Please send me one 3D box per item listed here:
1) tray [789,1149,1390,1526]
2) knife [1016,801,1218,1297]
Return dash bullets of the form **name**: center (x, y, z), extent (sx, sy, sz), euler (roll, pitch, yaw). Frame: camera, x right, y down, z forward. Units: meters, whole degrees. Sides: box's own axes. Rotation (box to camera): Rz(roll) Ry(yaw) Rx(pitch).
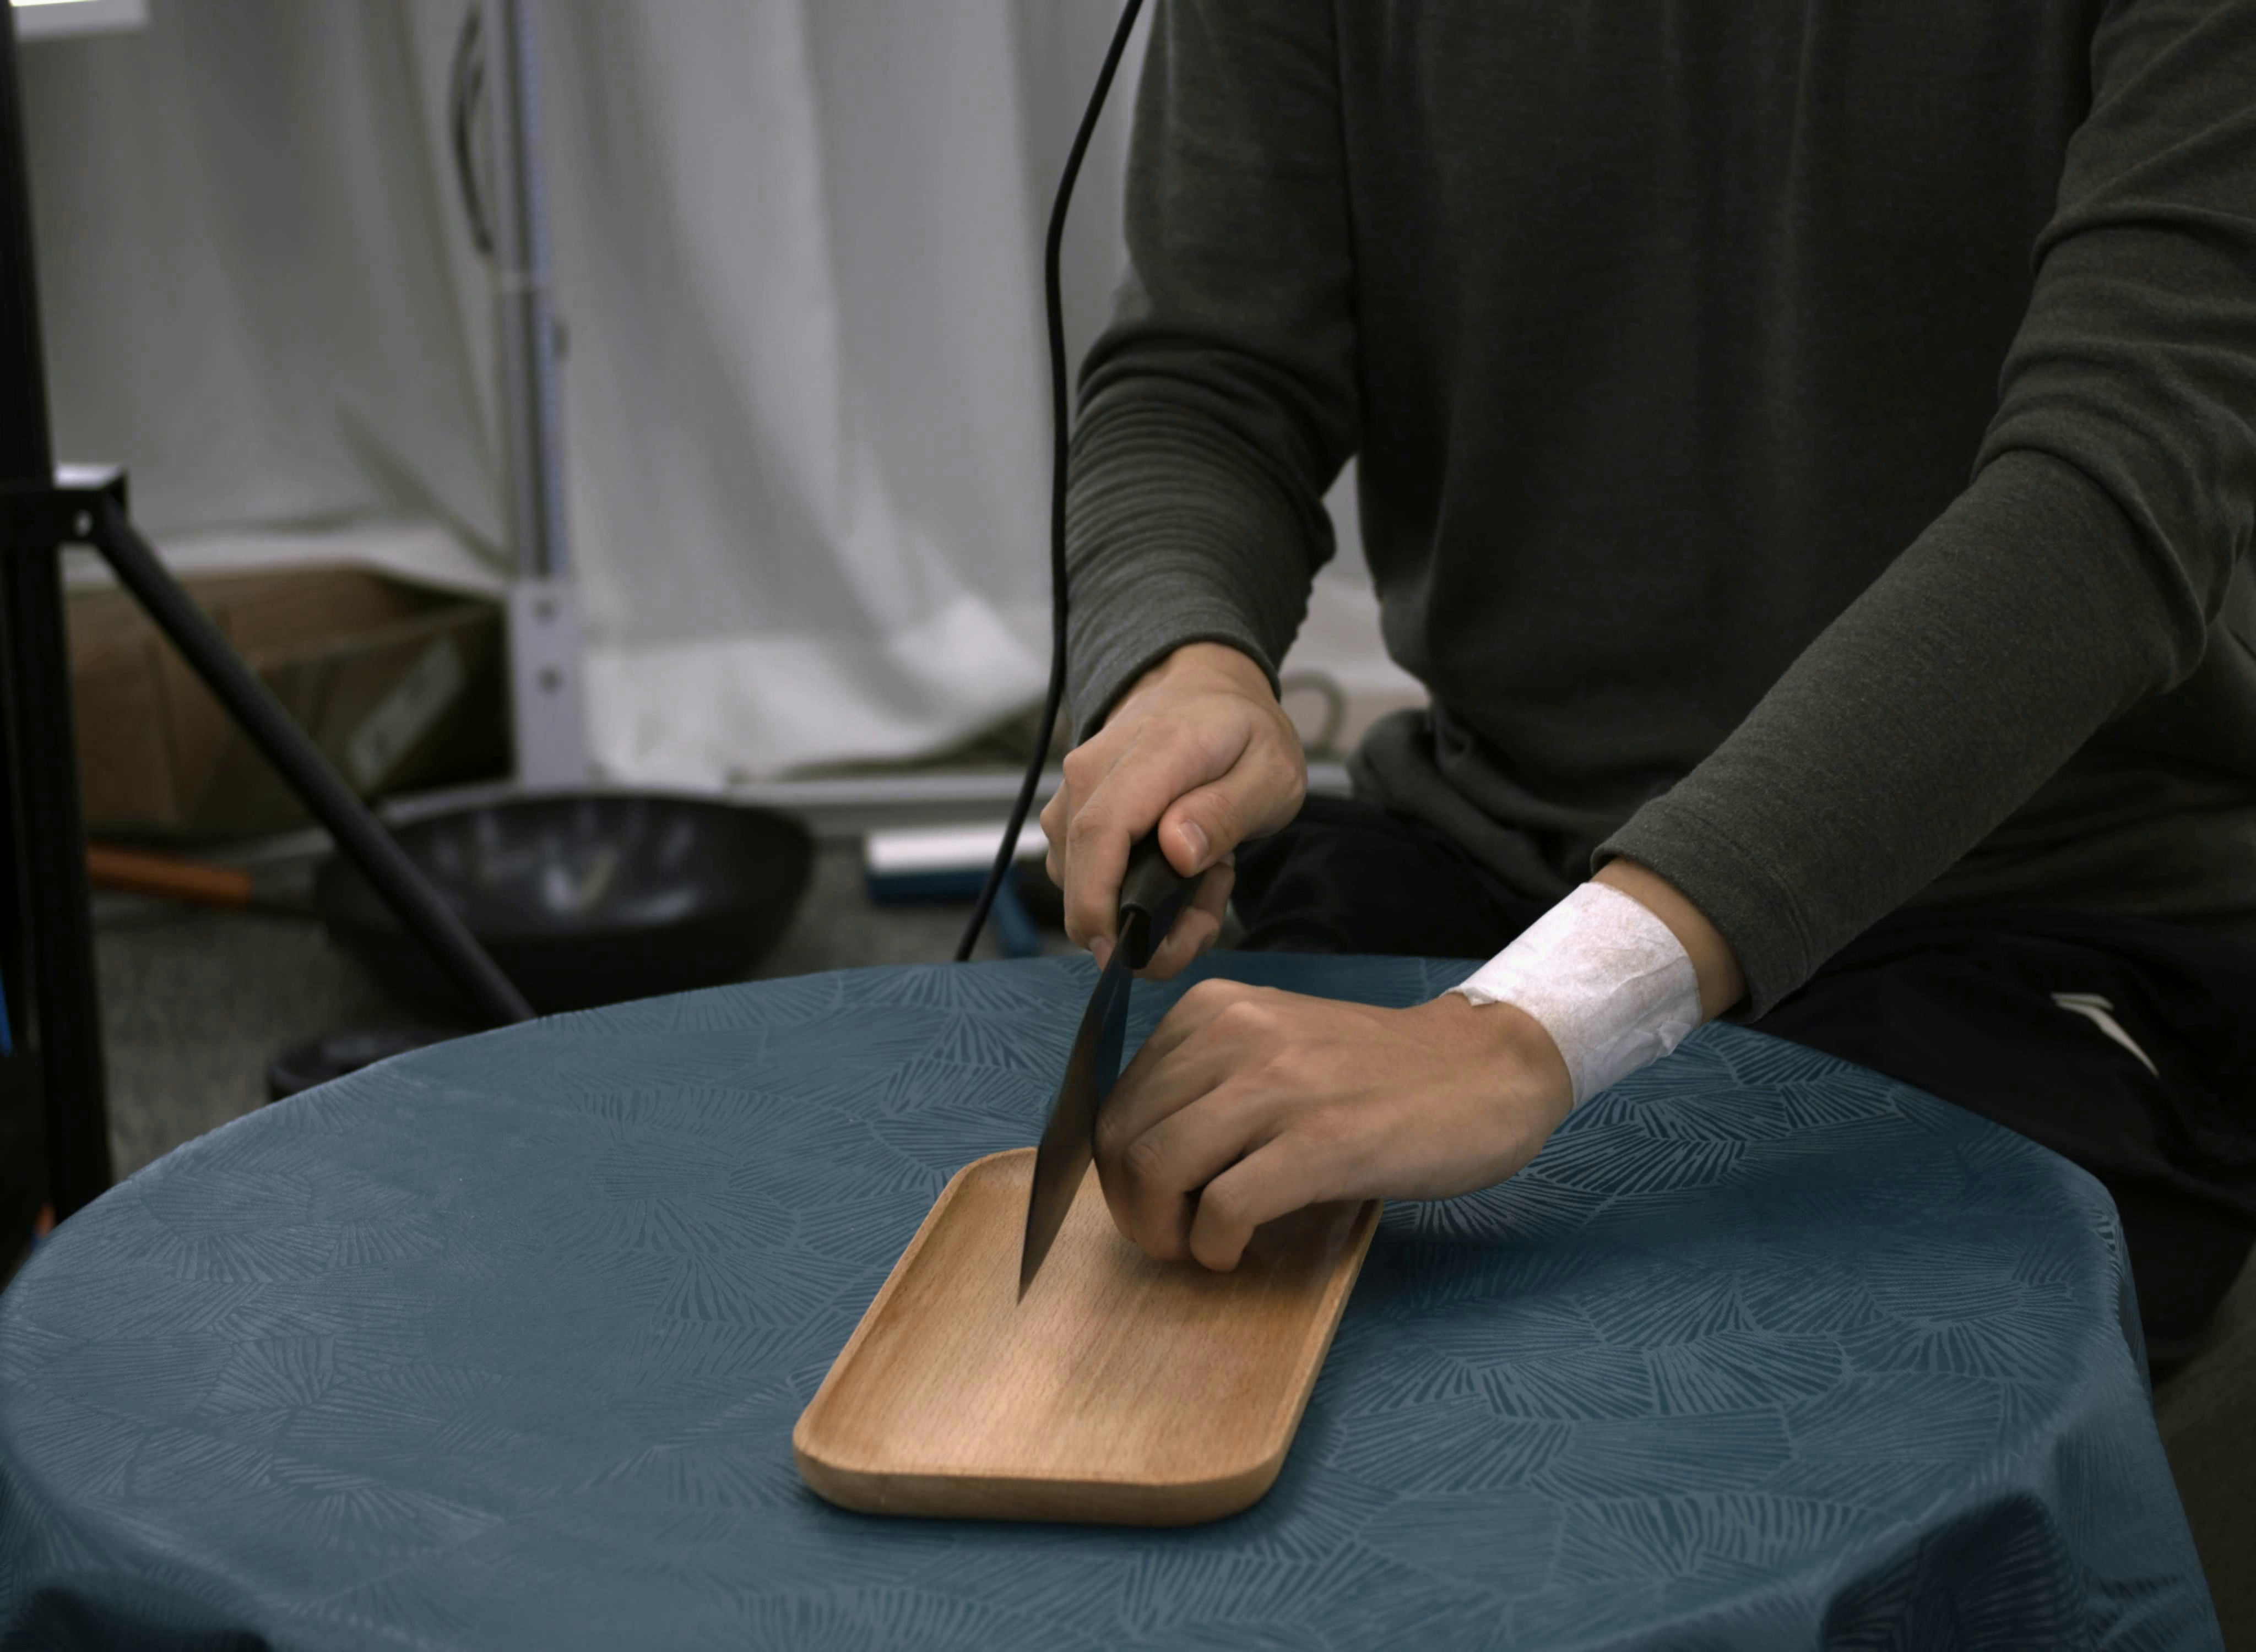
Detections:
- **tray**: center (-0.005, 0.135, 1.438), extent (0.131, 0.023, 0.249), euler (3, 15, 11)
- **knife**: center (-0.003, 0.055, 1.507), extent (0.021, 0.081, 0.301), euler (10, 20, 5)
